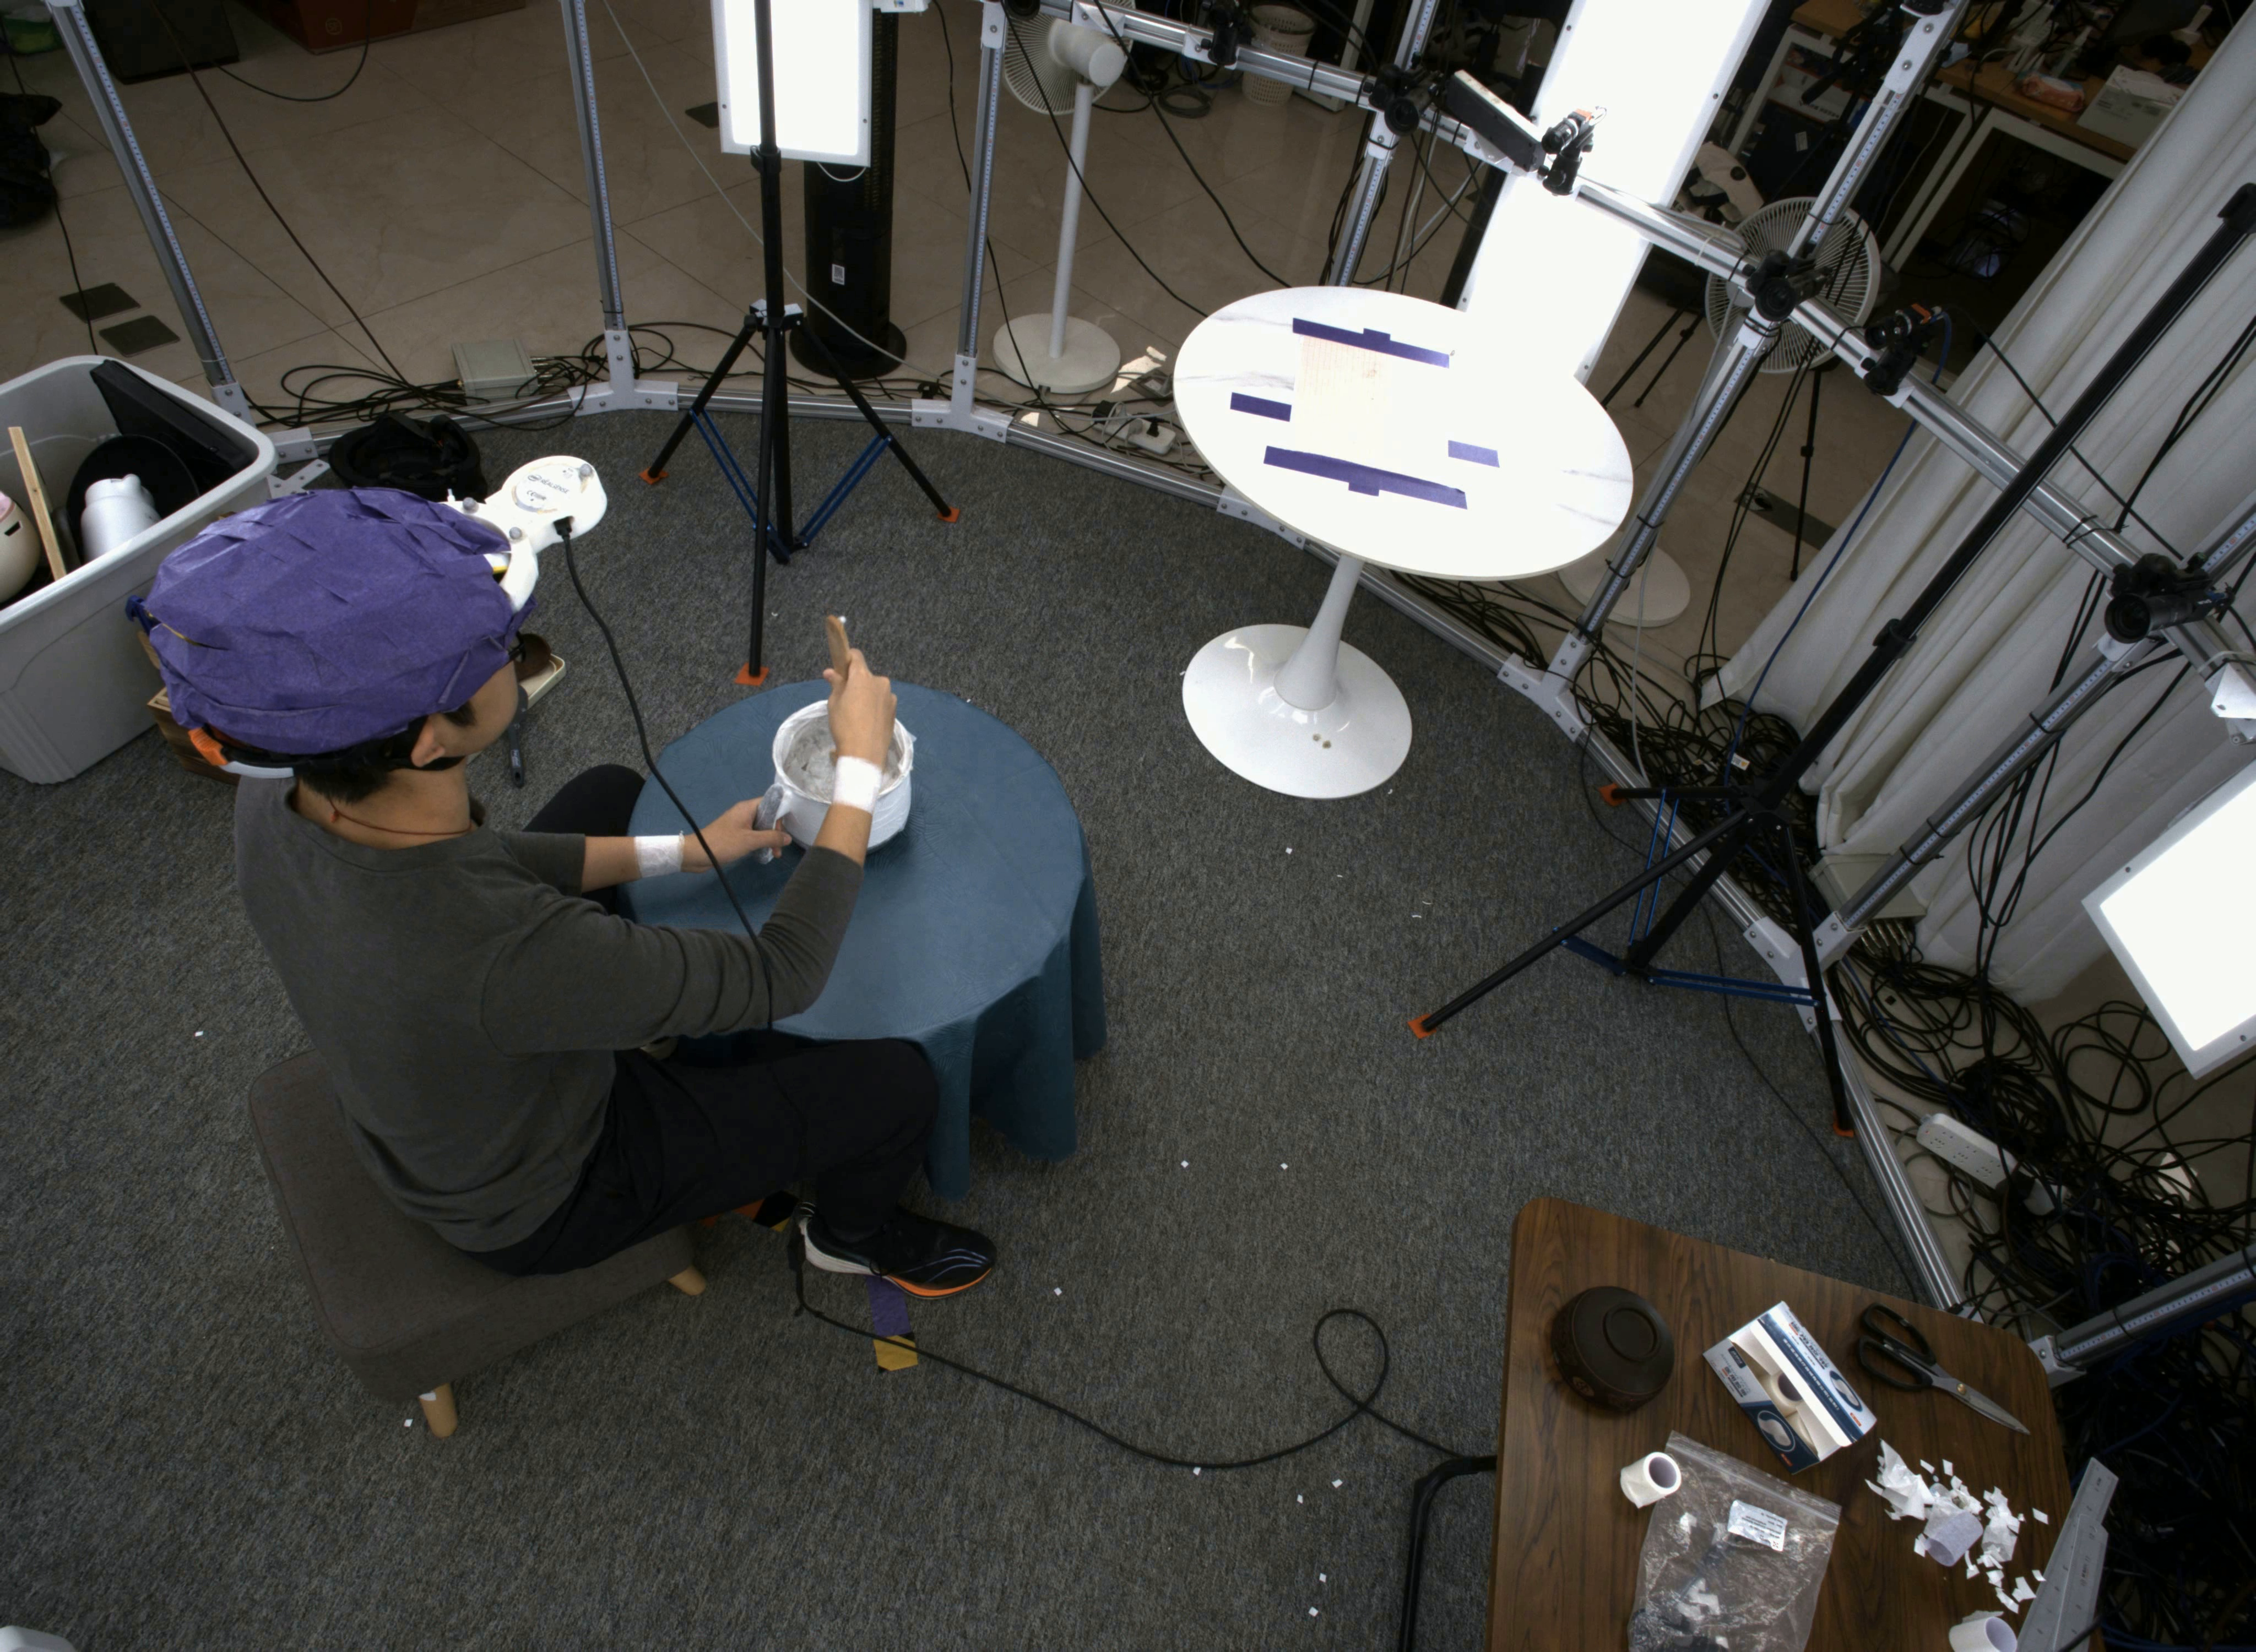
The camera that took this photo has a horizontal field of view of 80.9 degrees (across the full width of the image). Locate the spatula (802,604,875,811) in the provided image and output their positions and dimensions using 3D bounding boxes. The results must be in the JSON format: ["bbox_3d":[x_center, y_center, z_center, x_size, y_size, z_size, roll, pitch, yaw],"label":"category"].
[{"bbox_3d":[-0.346,-0.131,1.522,0.094,0.397,0.018,38,64,13],"label":"spatula"}]

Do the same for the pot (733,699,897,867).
[{"bbox_3d":[-0.411,-0.042,1.683,0.175,0.139,0.234,40,55,17],"label":"pot"}]
